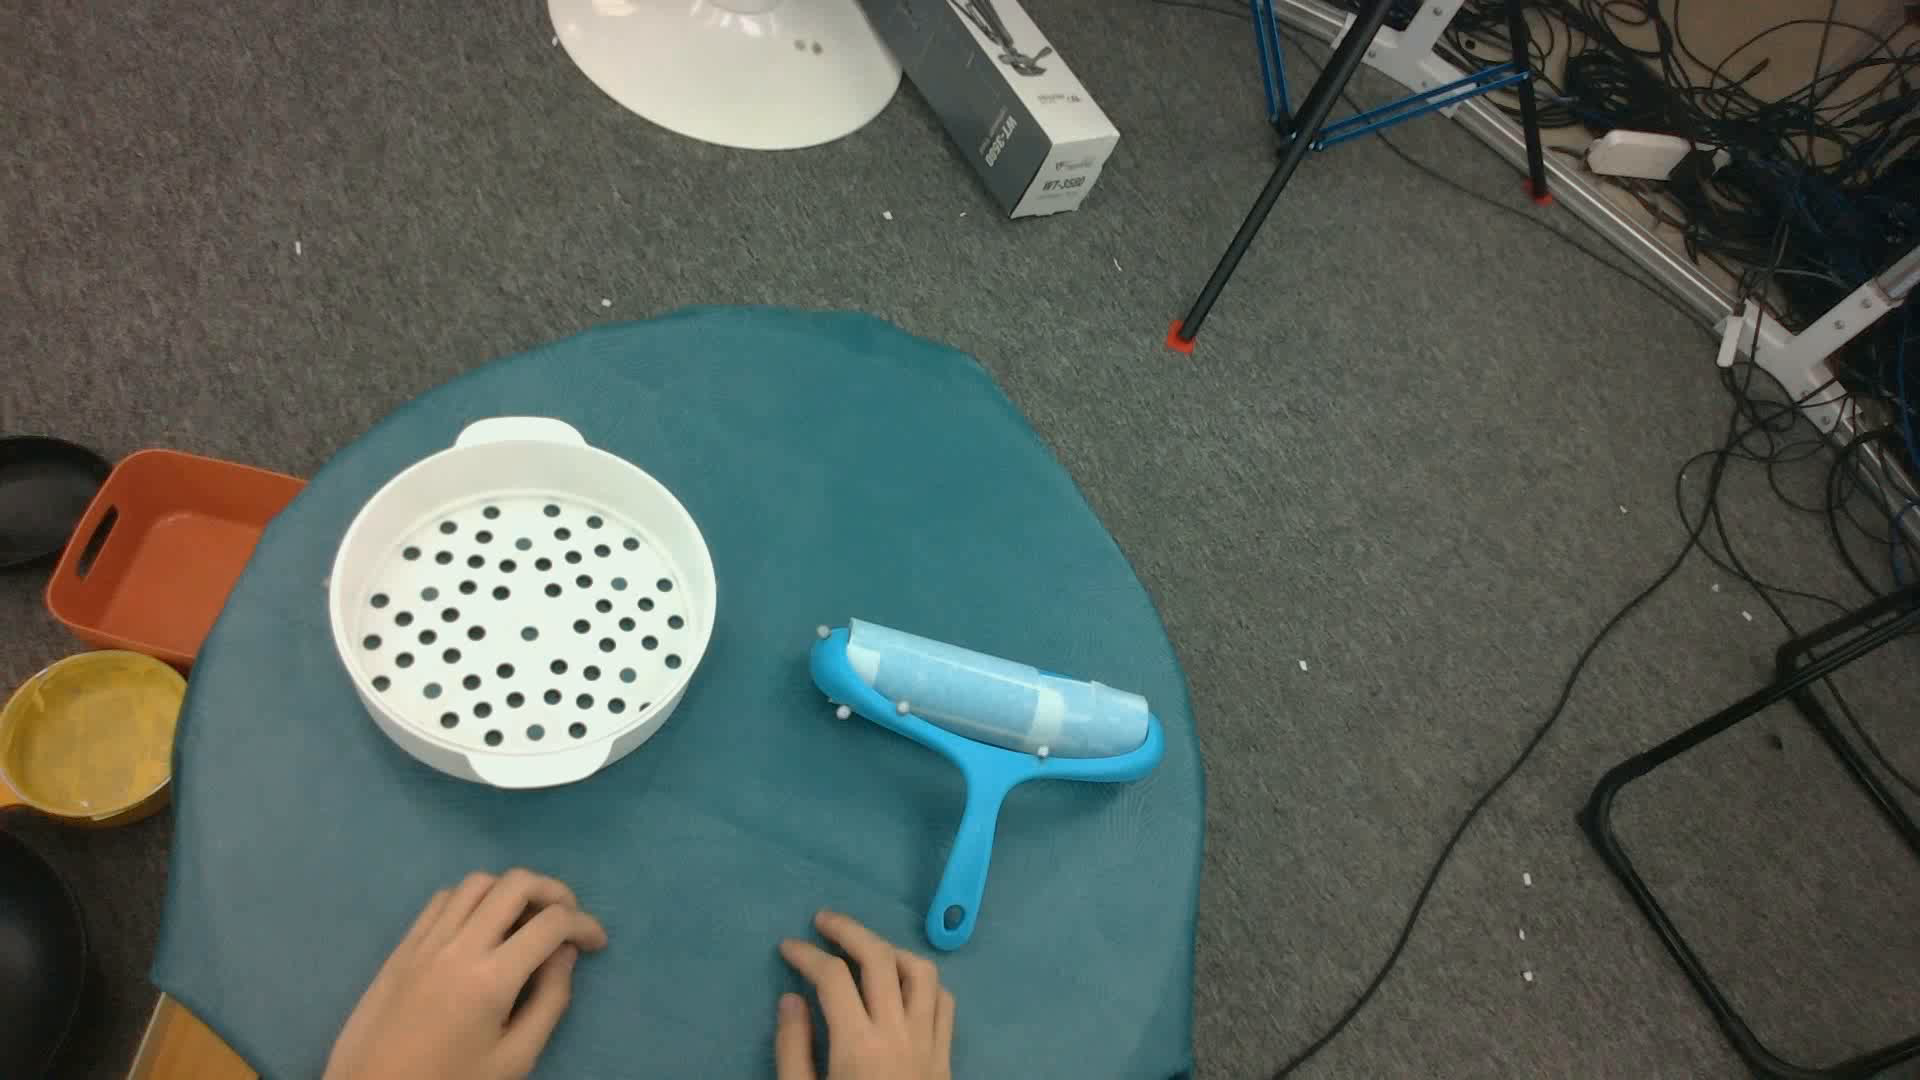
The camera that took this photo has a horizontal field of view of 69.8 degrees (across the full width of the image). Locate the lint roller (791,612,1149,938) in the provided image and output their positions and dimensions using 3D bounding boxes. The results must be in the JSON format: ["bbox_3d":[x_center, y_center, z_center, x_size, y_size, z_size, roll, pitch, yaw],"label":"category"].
[{"bbox_3d":[0.006,0.140,0.821,0.229,0.067,0.181,12,56,-14],"label":"lint roller"}]

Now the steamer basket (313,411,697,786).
[{"bbox_3d":[-0.255,0.038,0.786,0.202,0.069,0.231,-4,63,-20],"label":"steamer basket"}]
